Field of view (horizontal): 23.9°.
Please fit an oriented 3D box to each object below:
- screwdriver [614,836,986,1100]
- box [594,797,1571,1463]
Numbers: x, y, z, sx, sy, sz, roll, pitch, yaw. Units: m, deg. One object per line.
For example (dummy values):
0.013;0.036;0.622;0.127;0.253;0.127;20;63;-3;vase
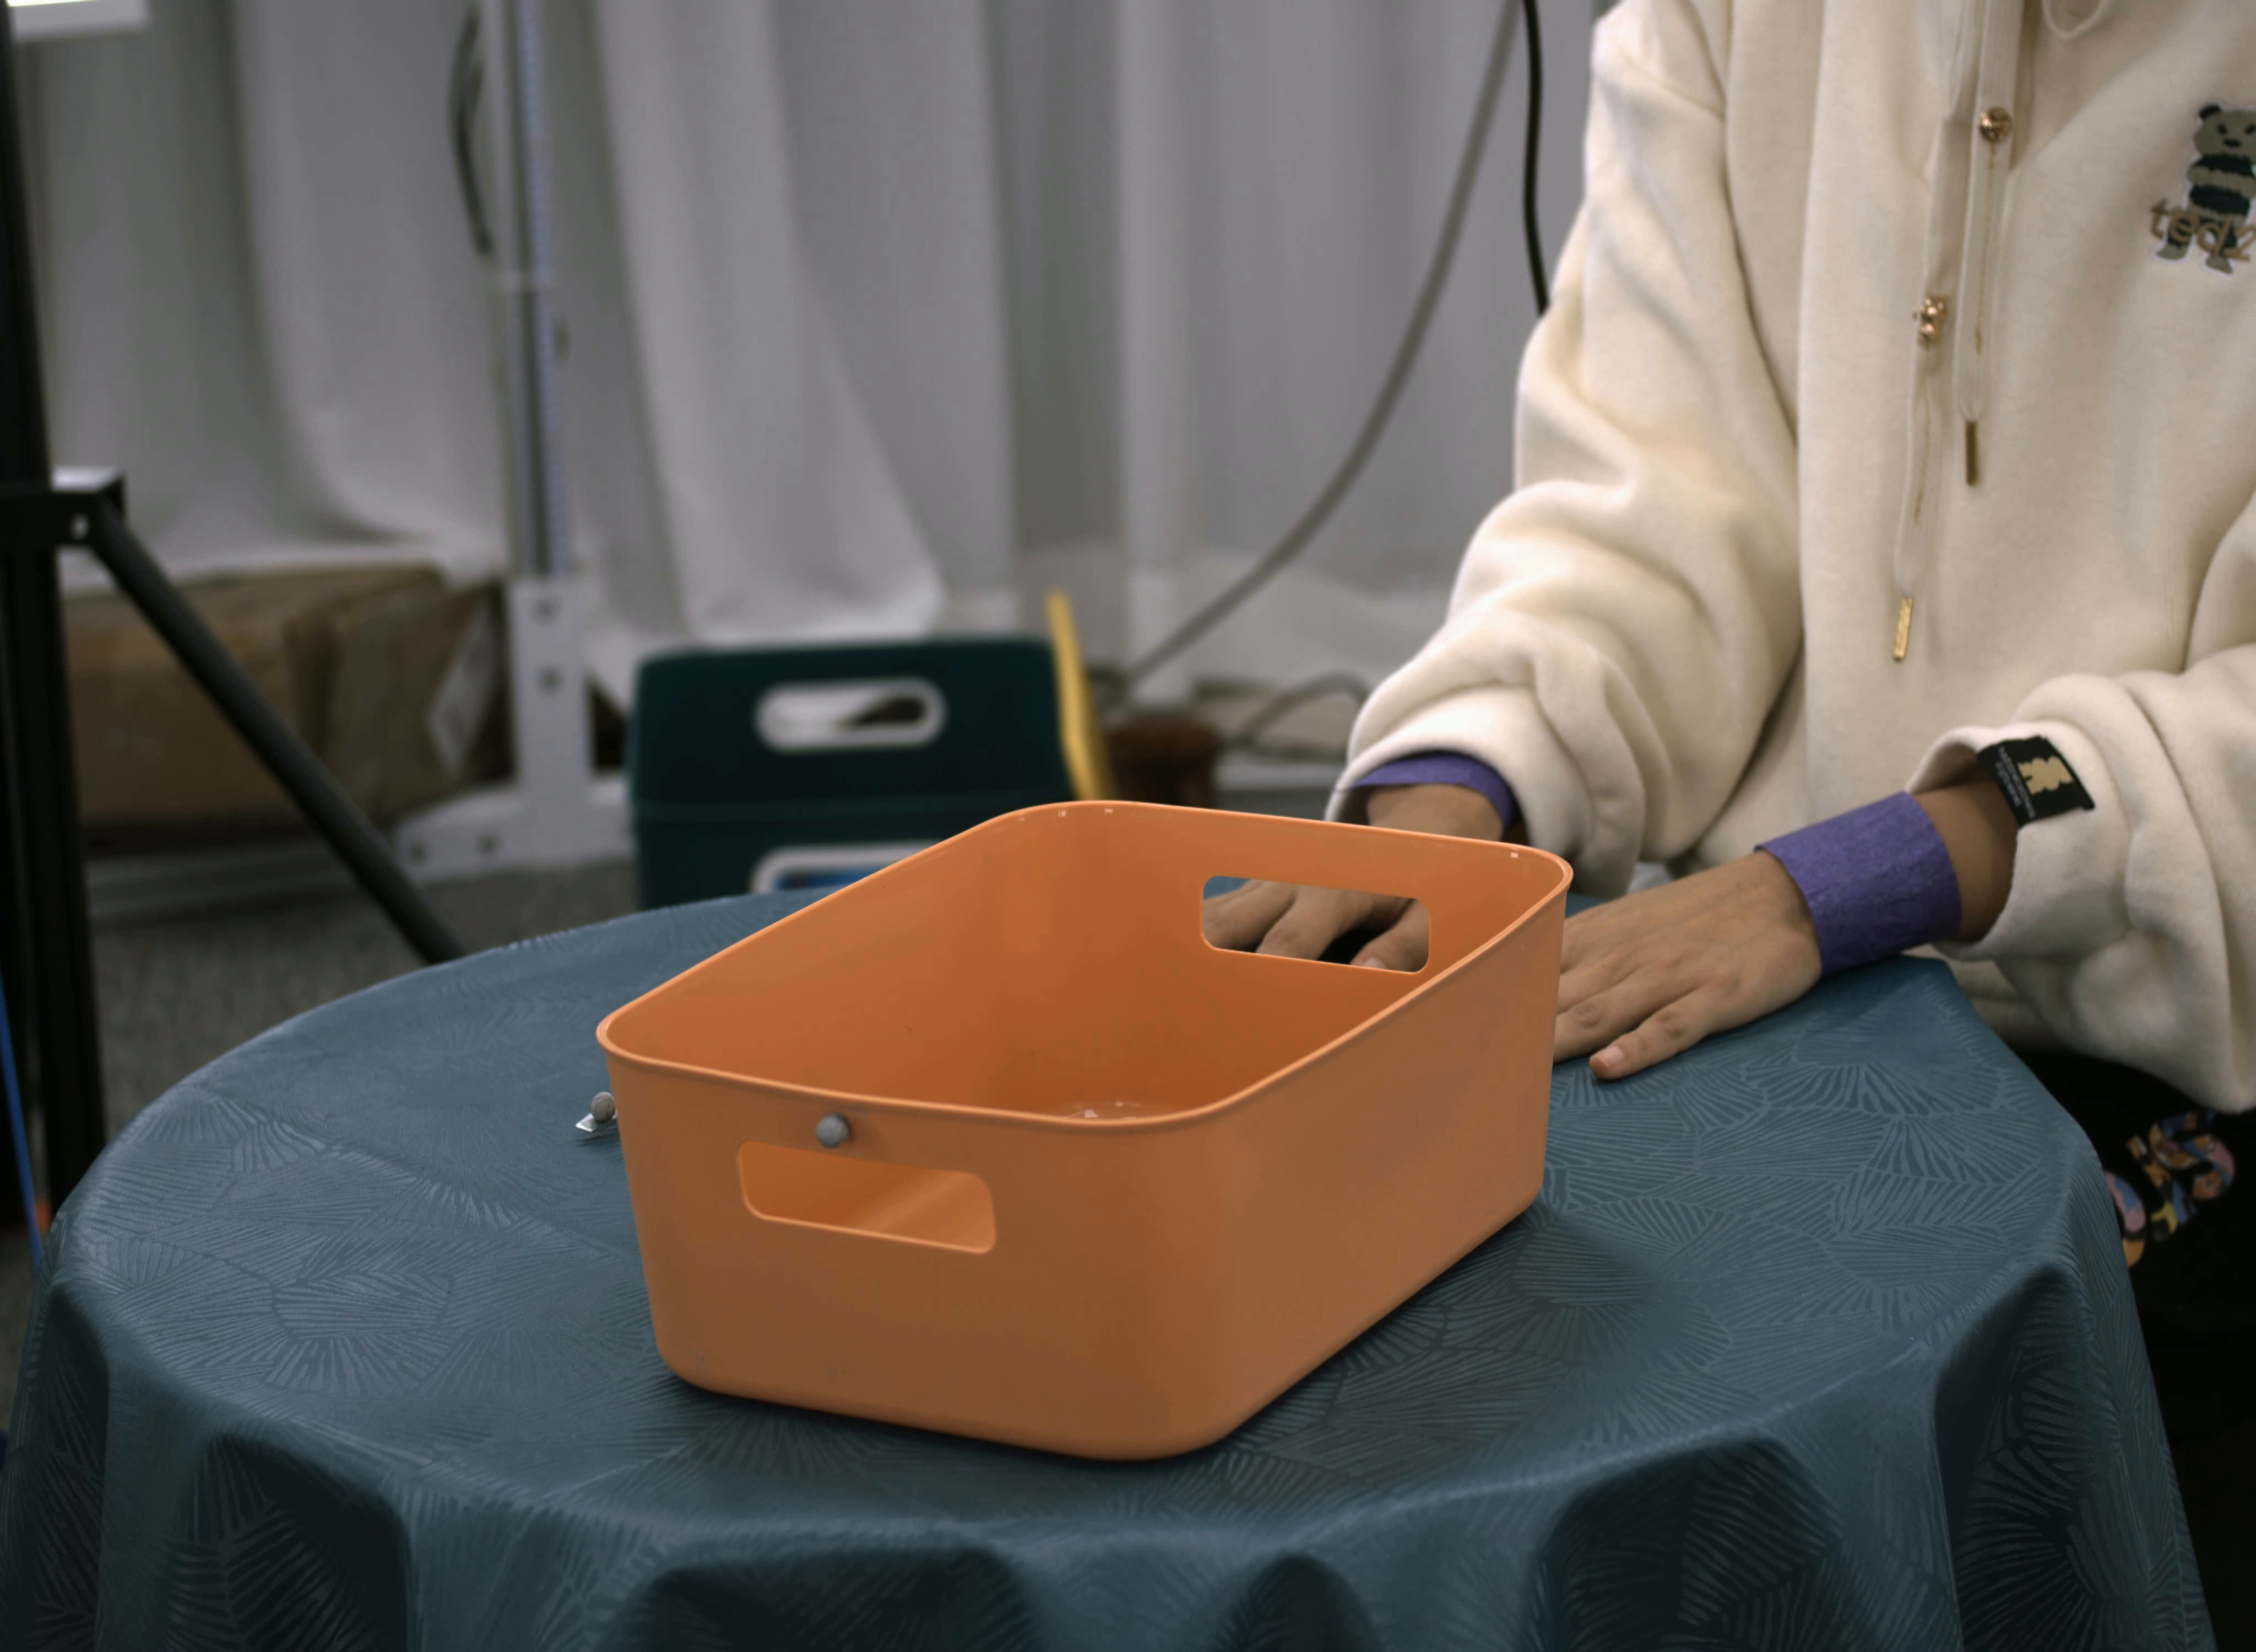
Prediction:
-0.100;0.049;1.697;0.032;0.031;0.195;7;27;30;screwdriver
-0.004;0.080;1.467;0.203;0.102;0.268;6;18;29;box
